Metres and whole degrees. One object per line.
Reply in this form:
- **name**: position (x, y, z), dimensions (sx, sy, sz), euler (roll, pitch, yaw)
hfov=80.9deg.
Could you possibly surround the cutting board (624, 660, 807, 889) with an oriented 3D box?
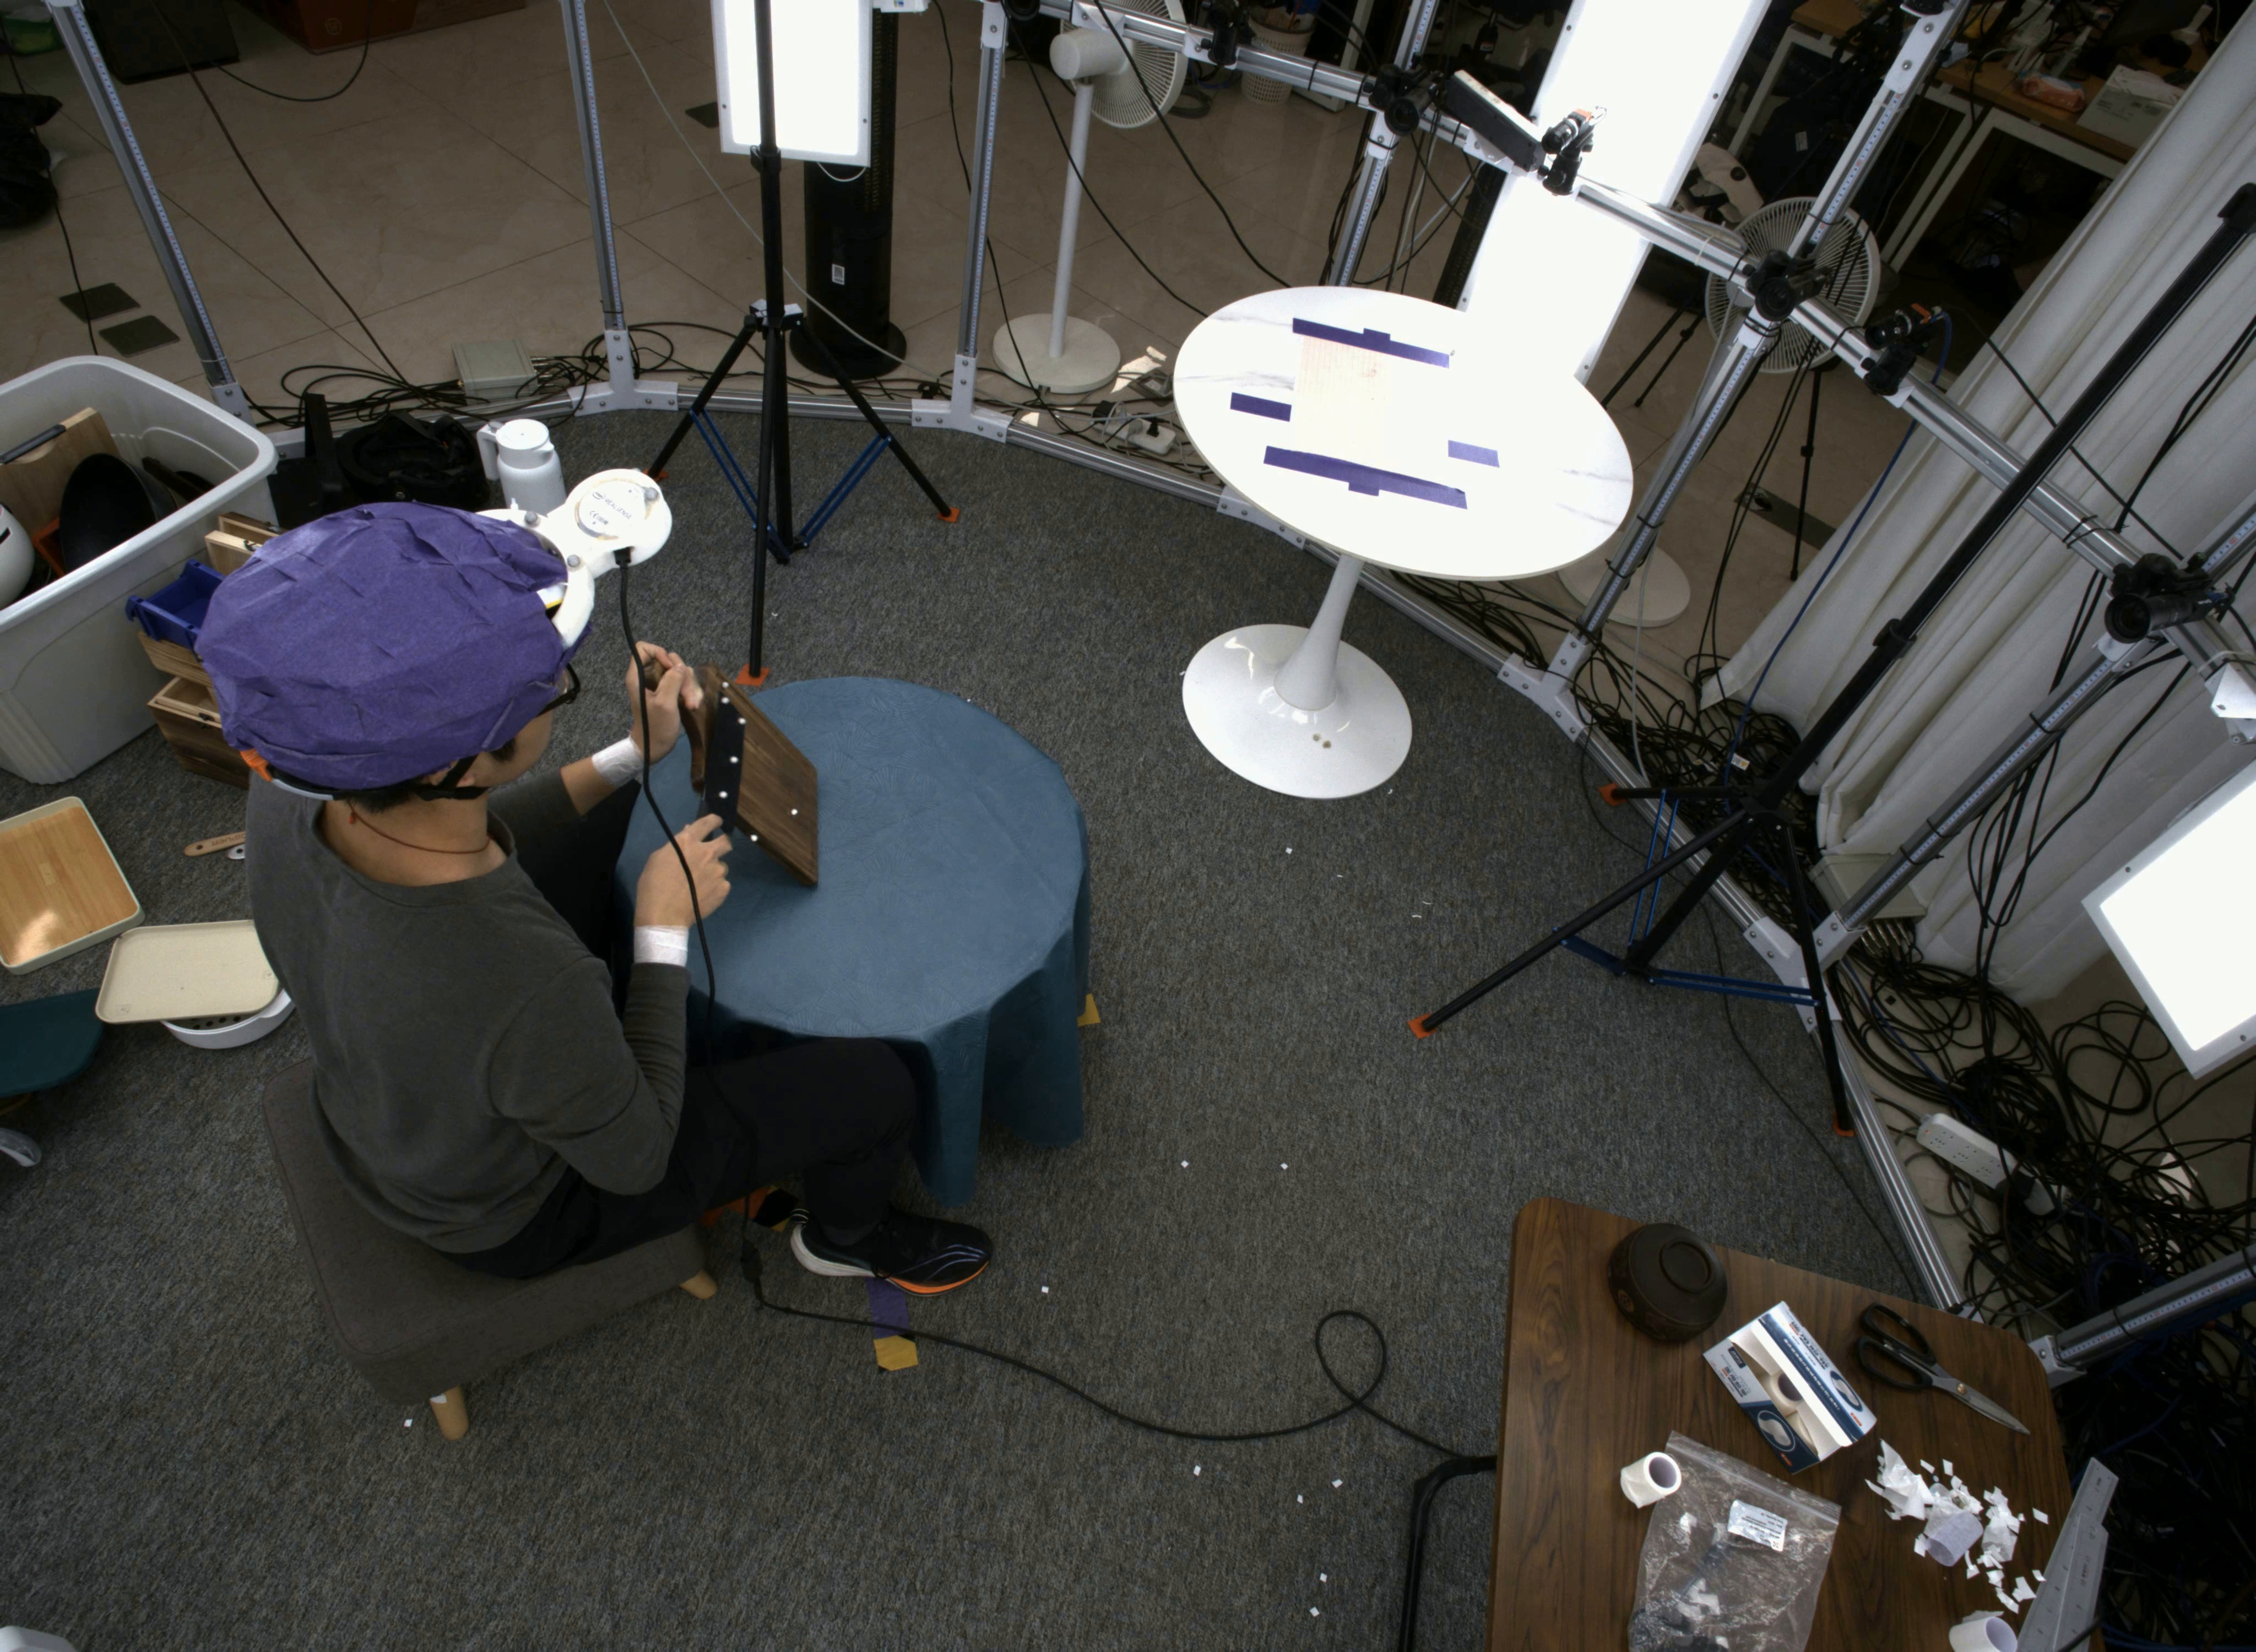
- **cutting board**: position (-0.501, -0.088, 1.580), dimensions (0.023, 0.365, 0.196), euler (-20, 54, 11)

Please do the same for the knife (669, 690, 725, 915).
- **knife**: position (-0.492, -0.029, 1.476), dimensions (0.020, 0.084, 0.296), euler (-15, 51, 12)
